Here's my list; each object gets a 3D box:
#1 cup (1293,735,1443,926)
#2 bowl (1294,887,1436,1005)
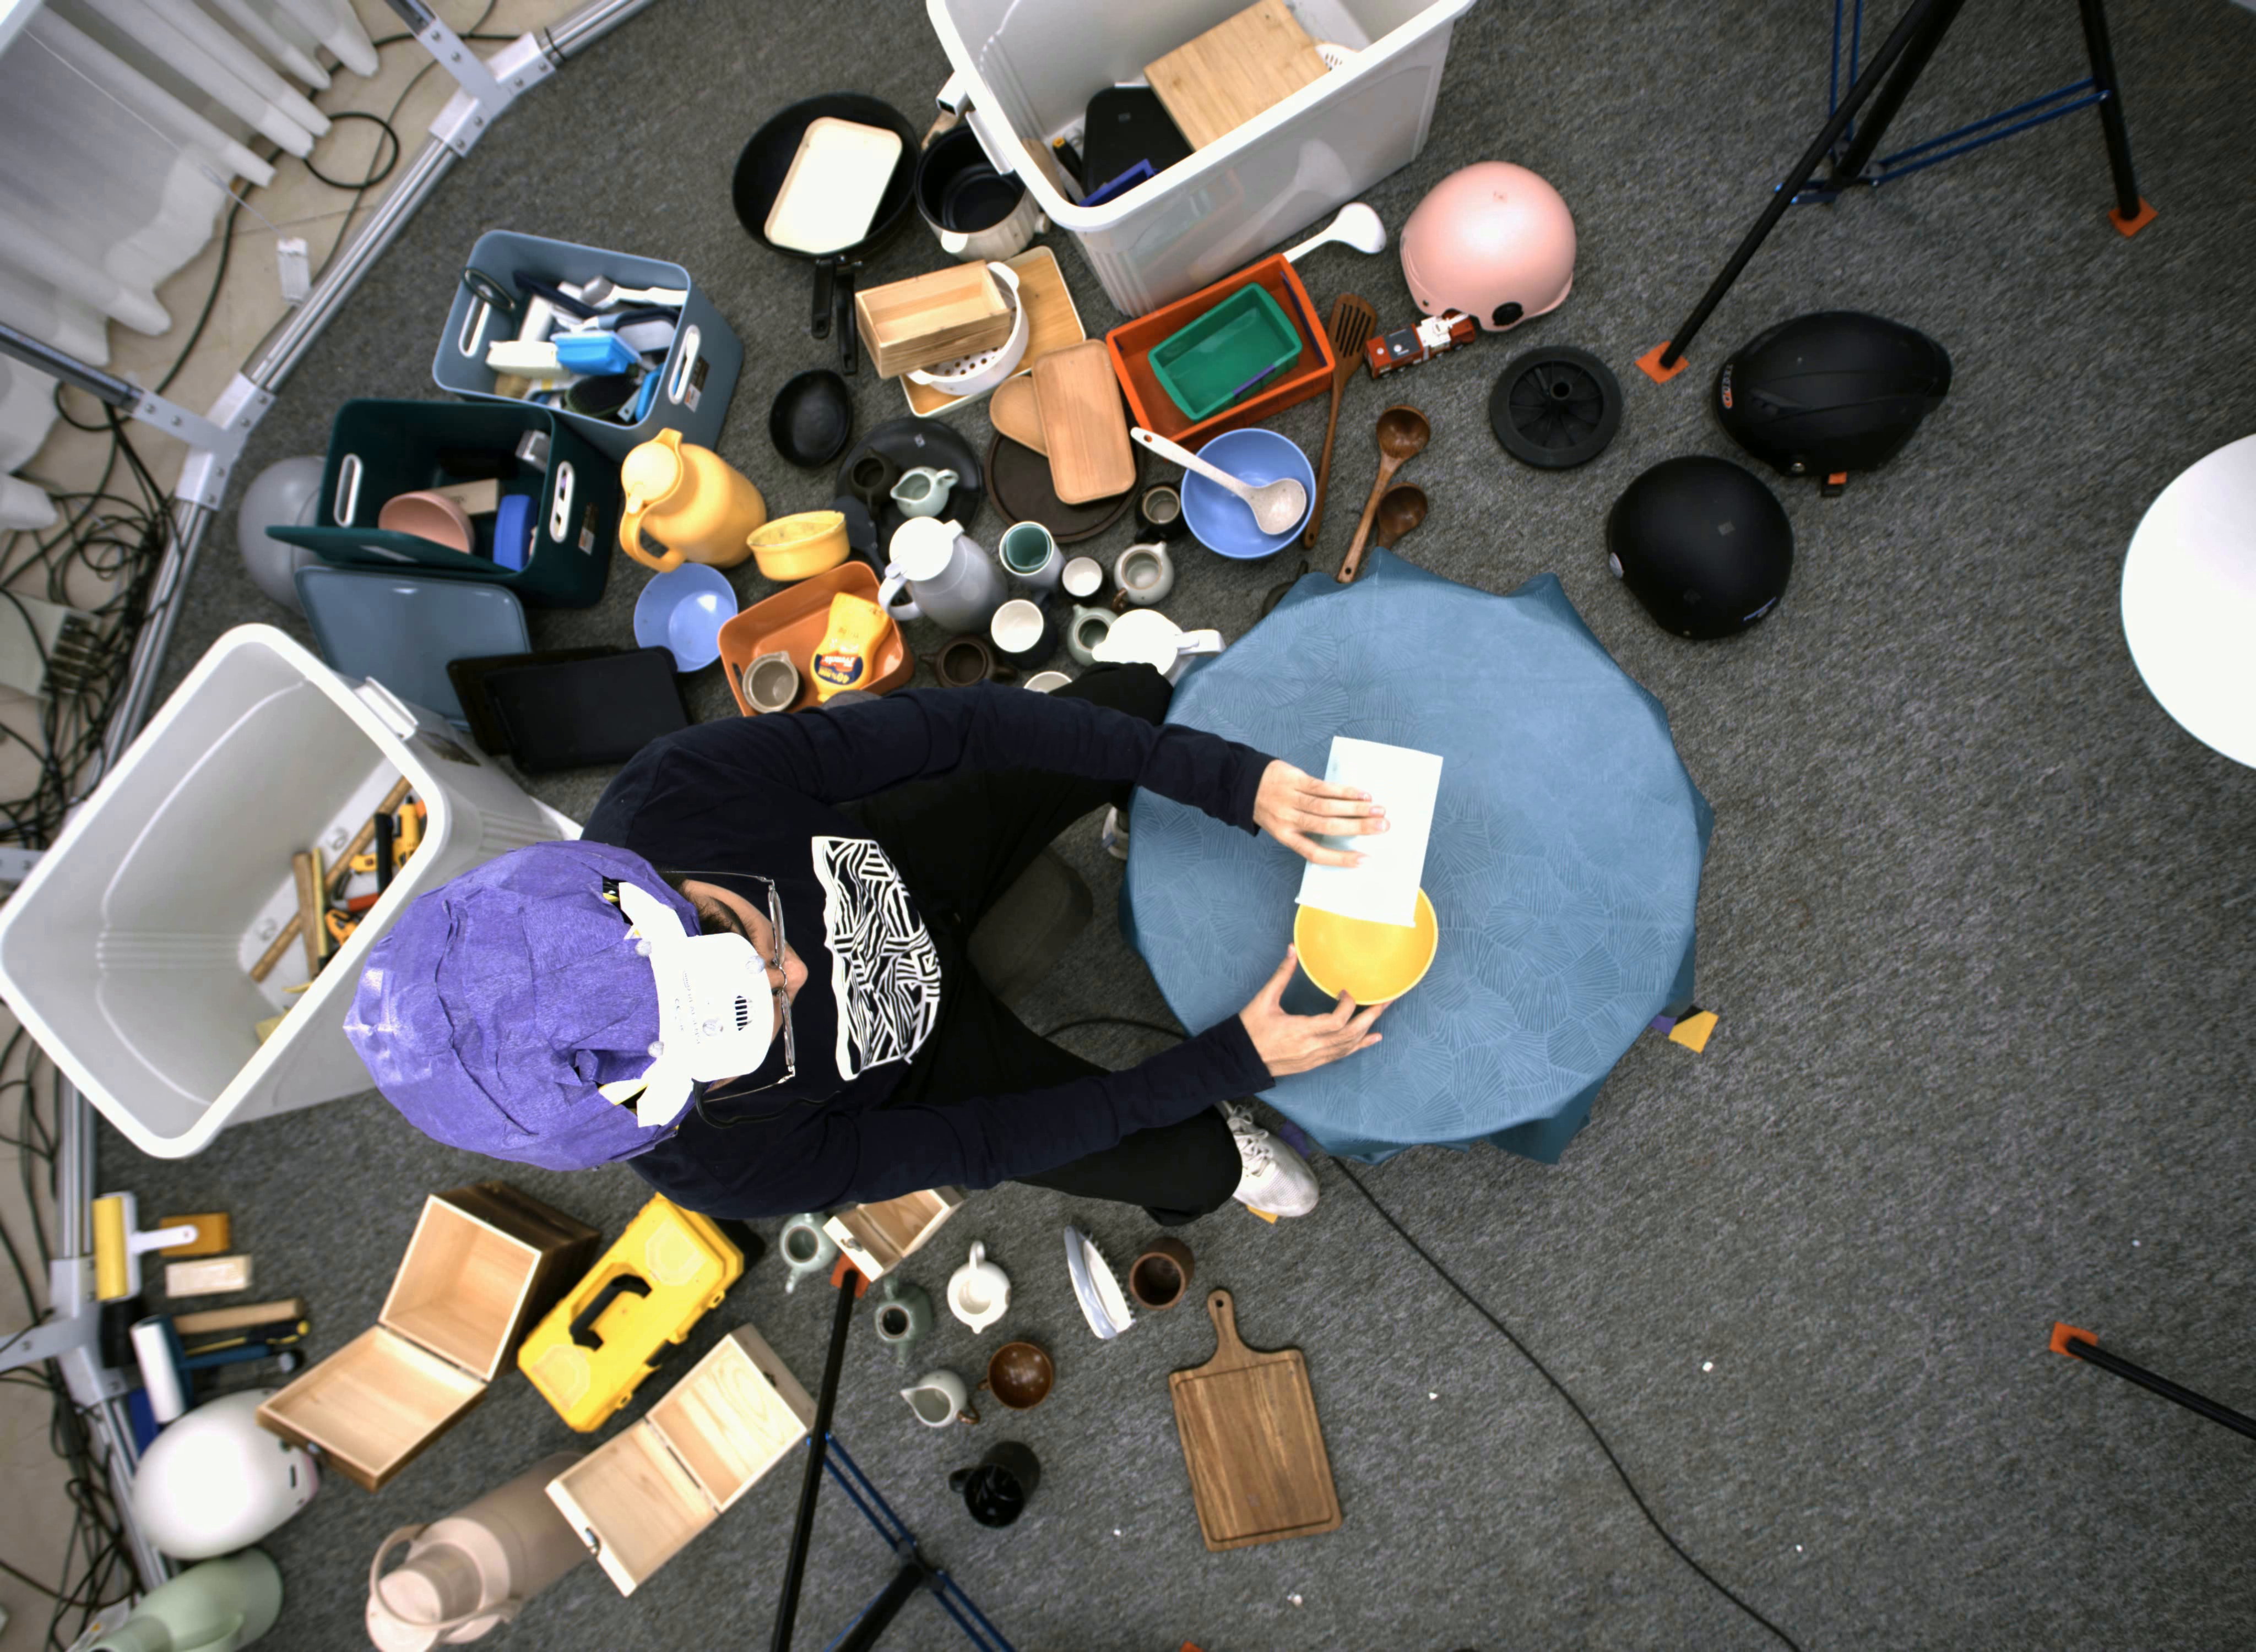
[{"bbox_3d":[0.232,0.002,1.315,0.115,0.130,0.163,13,95,11],"label":"cup"},{"bbox_3d":[0.246,0.112,1.433,0.146,0.060,0.144,-1,86,12],"label":"bowl"}]
